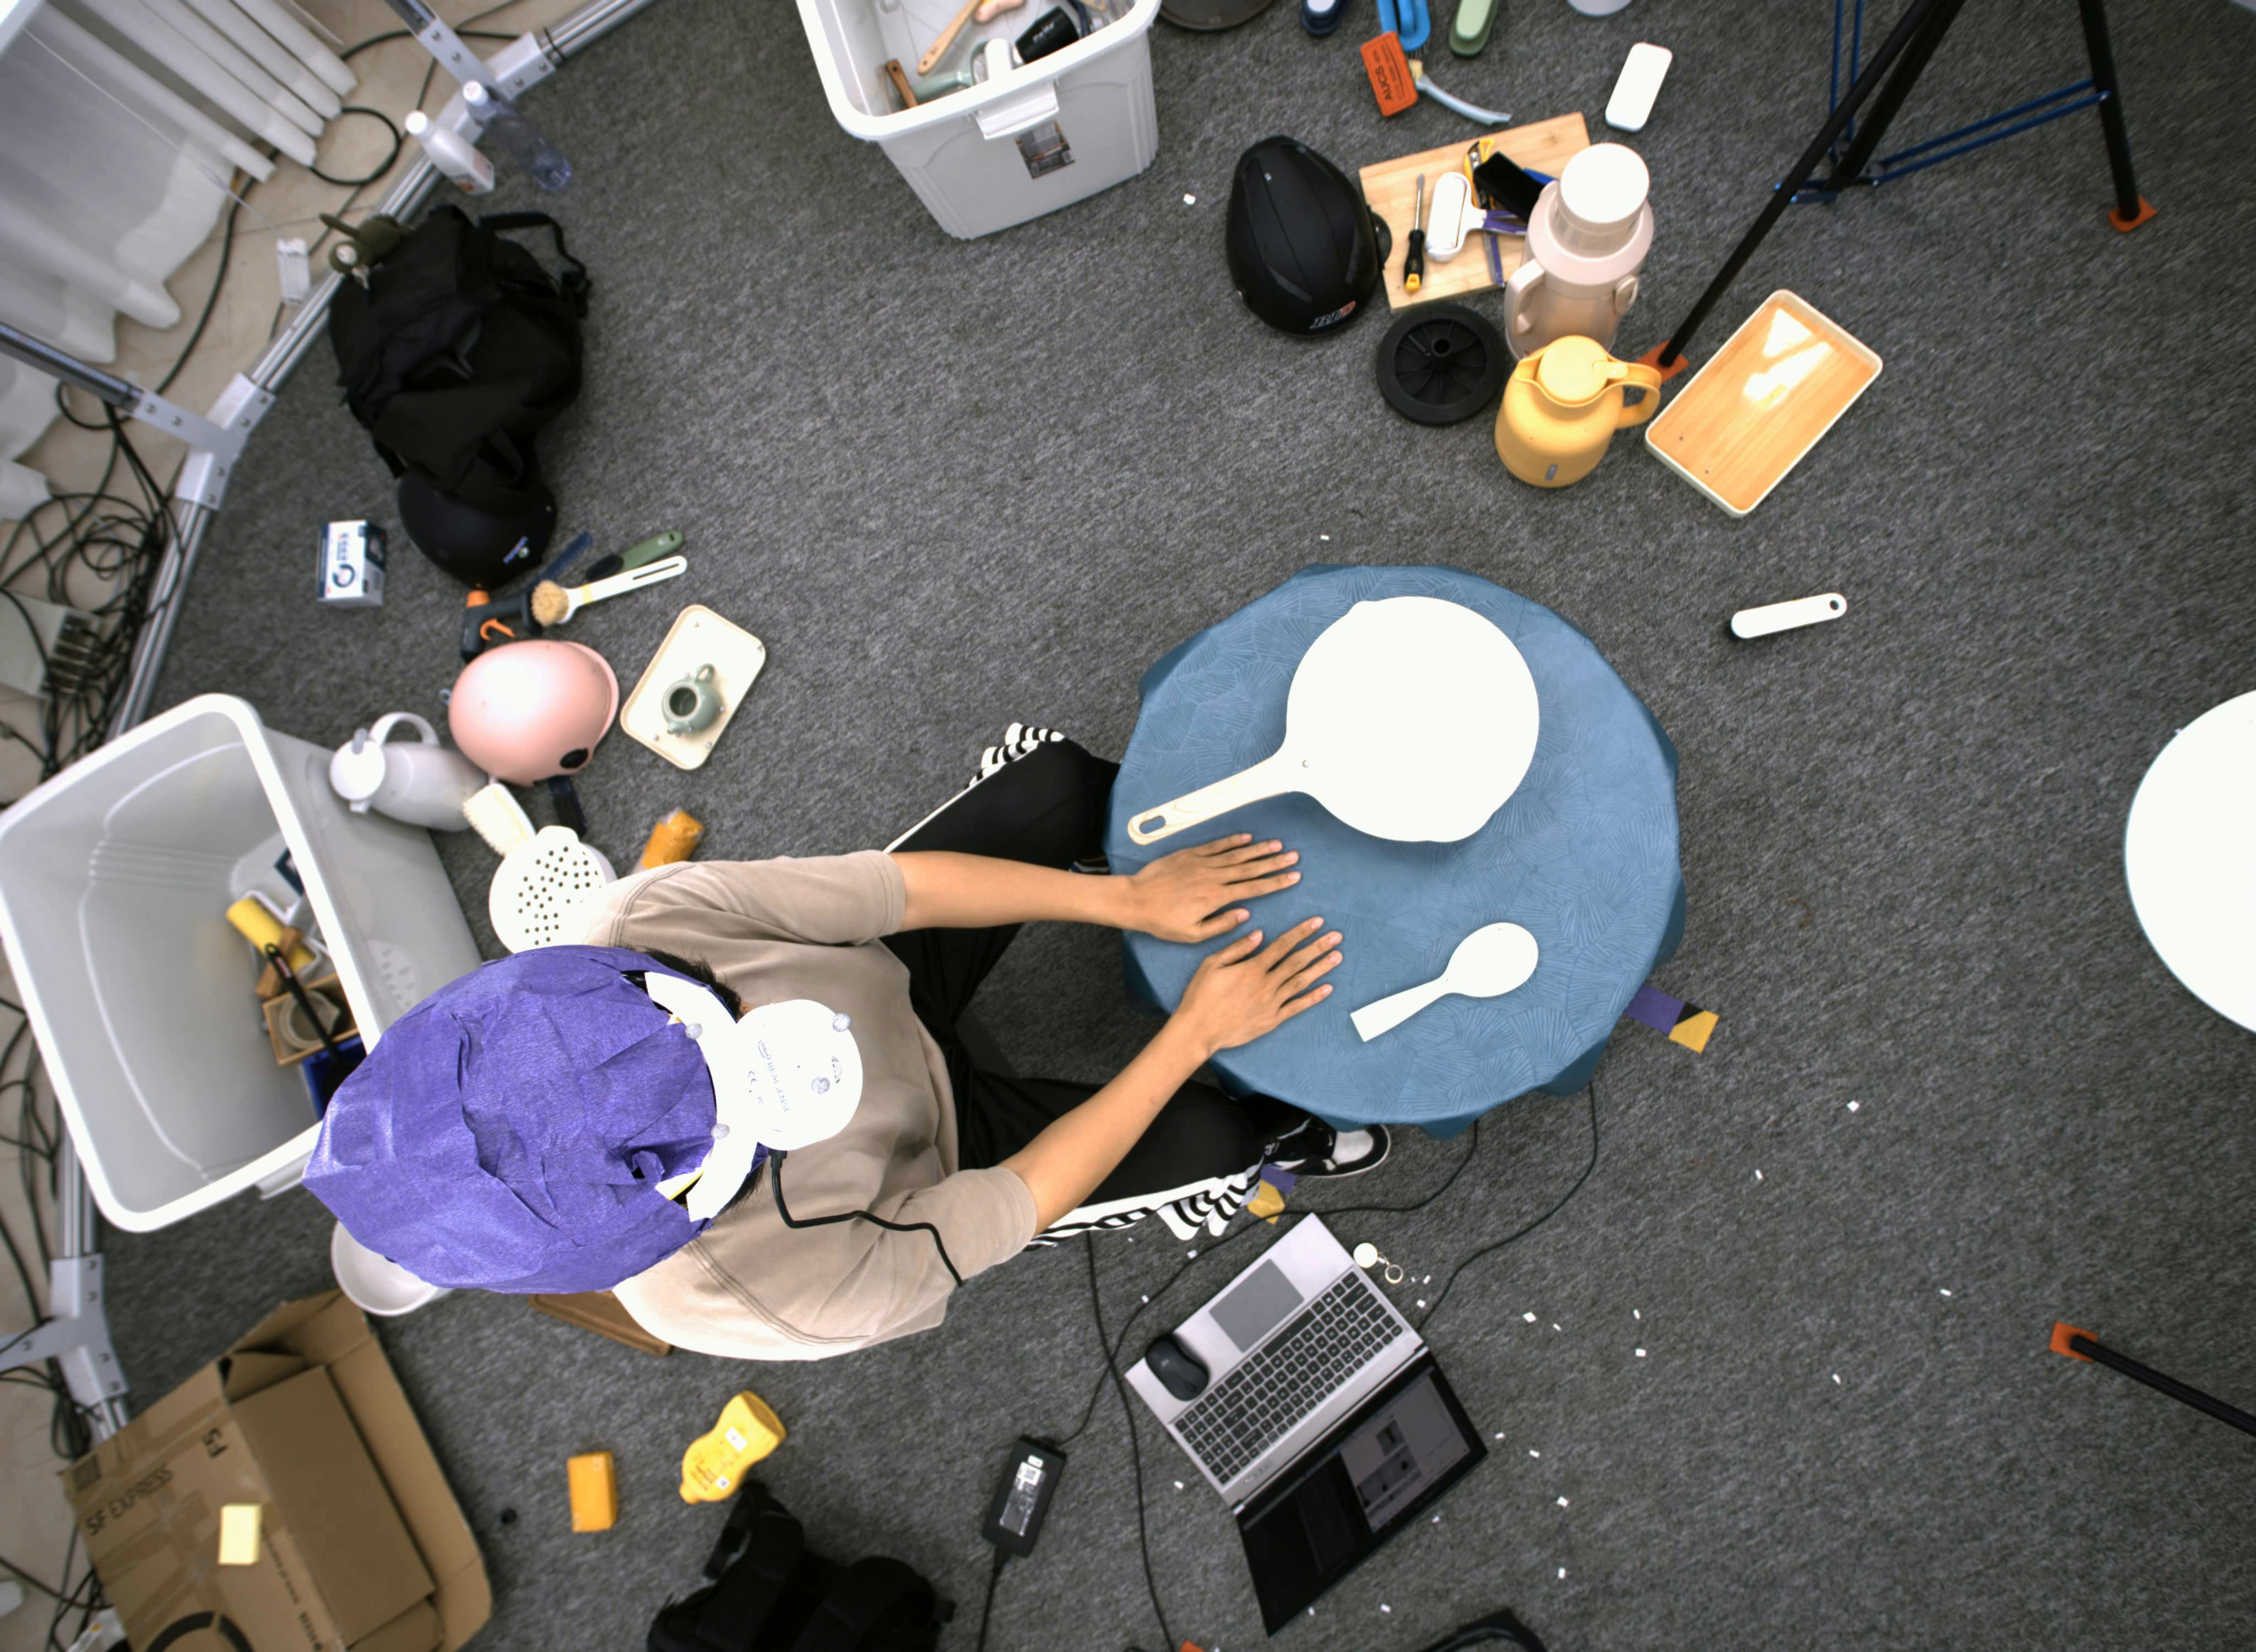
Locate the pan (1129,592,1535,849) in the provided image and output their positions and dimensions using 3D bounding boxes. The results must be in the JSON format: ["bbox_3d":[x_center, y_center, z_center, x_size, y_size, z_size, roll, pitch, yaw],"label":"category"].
[{"bbox_3d":[0.205,-0.075,1.435,0.437,0.102,0.262,-24,84,9],"label":"pan"}]

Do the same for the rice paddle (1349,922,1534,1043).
[{"bbox_3d":[0.326,0.162,1.429,0.206,0.029,0.068,-29,83,7],"label":"rice paddle"}]
